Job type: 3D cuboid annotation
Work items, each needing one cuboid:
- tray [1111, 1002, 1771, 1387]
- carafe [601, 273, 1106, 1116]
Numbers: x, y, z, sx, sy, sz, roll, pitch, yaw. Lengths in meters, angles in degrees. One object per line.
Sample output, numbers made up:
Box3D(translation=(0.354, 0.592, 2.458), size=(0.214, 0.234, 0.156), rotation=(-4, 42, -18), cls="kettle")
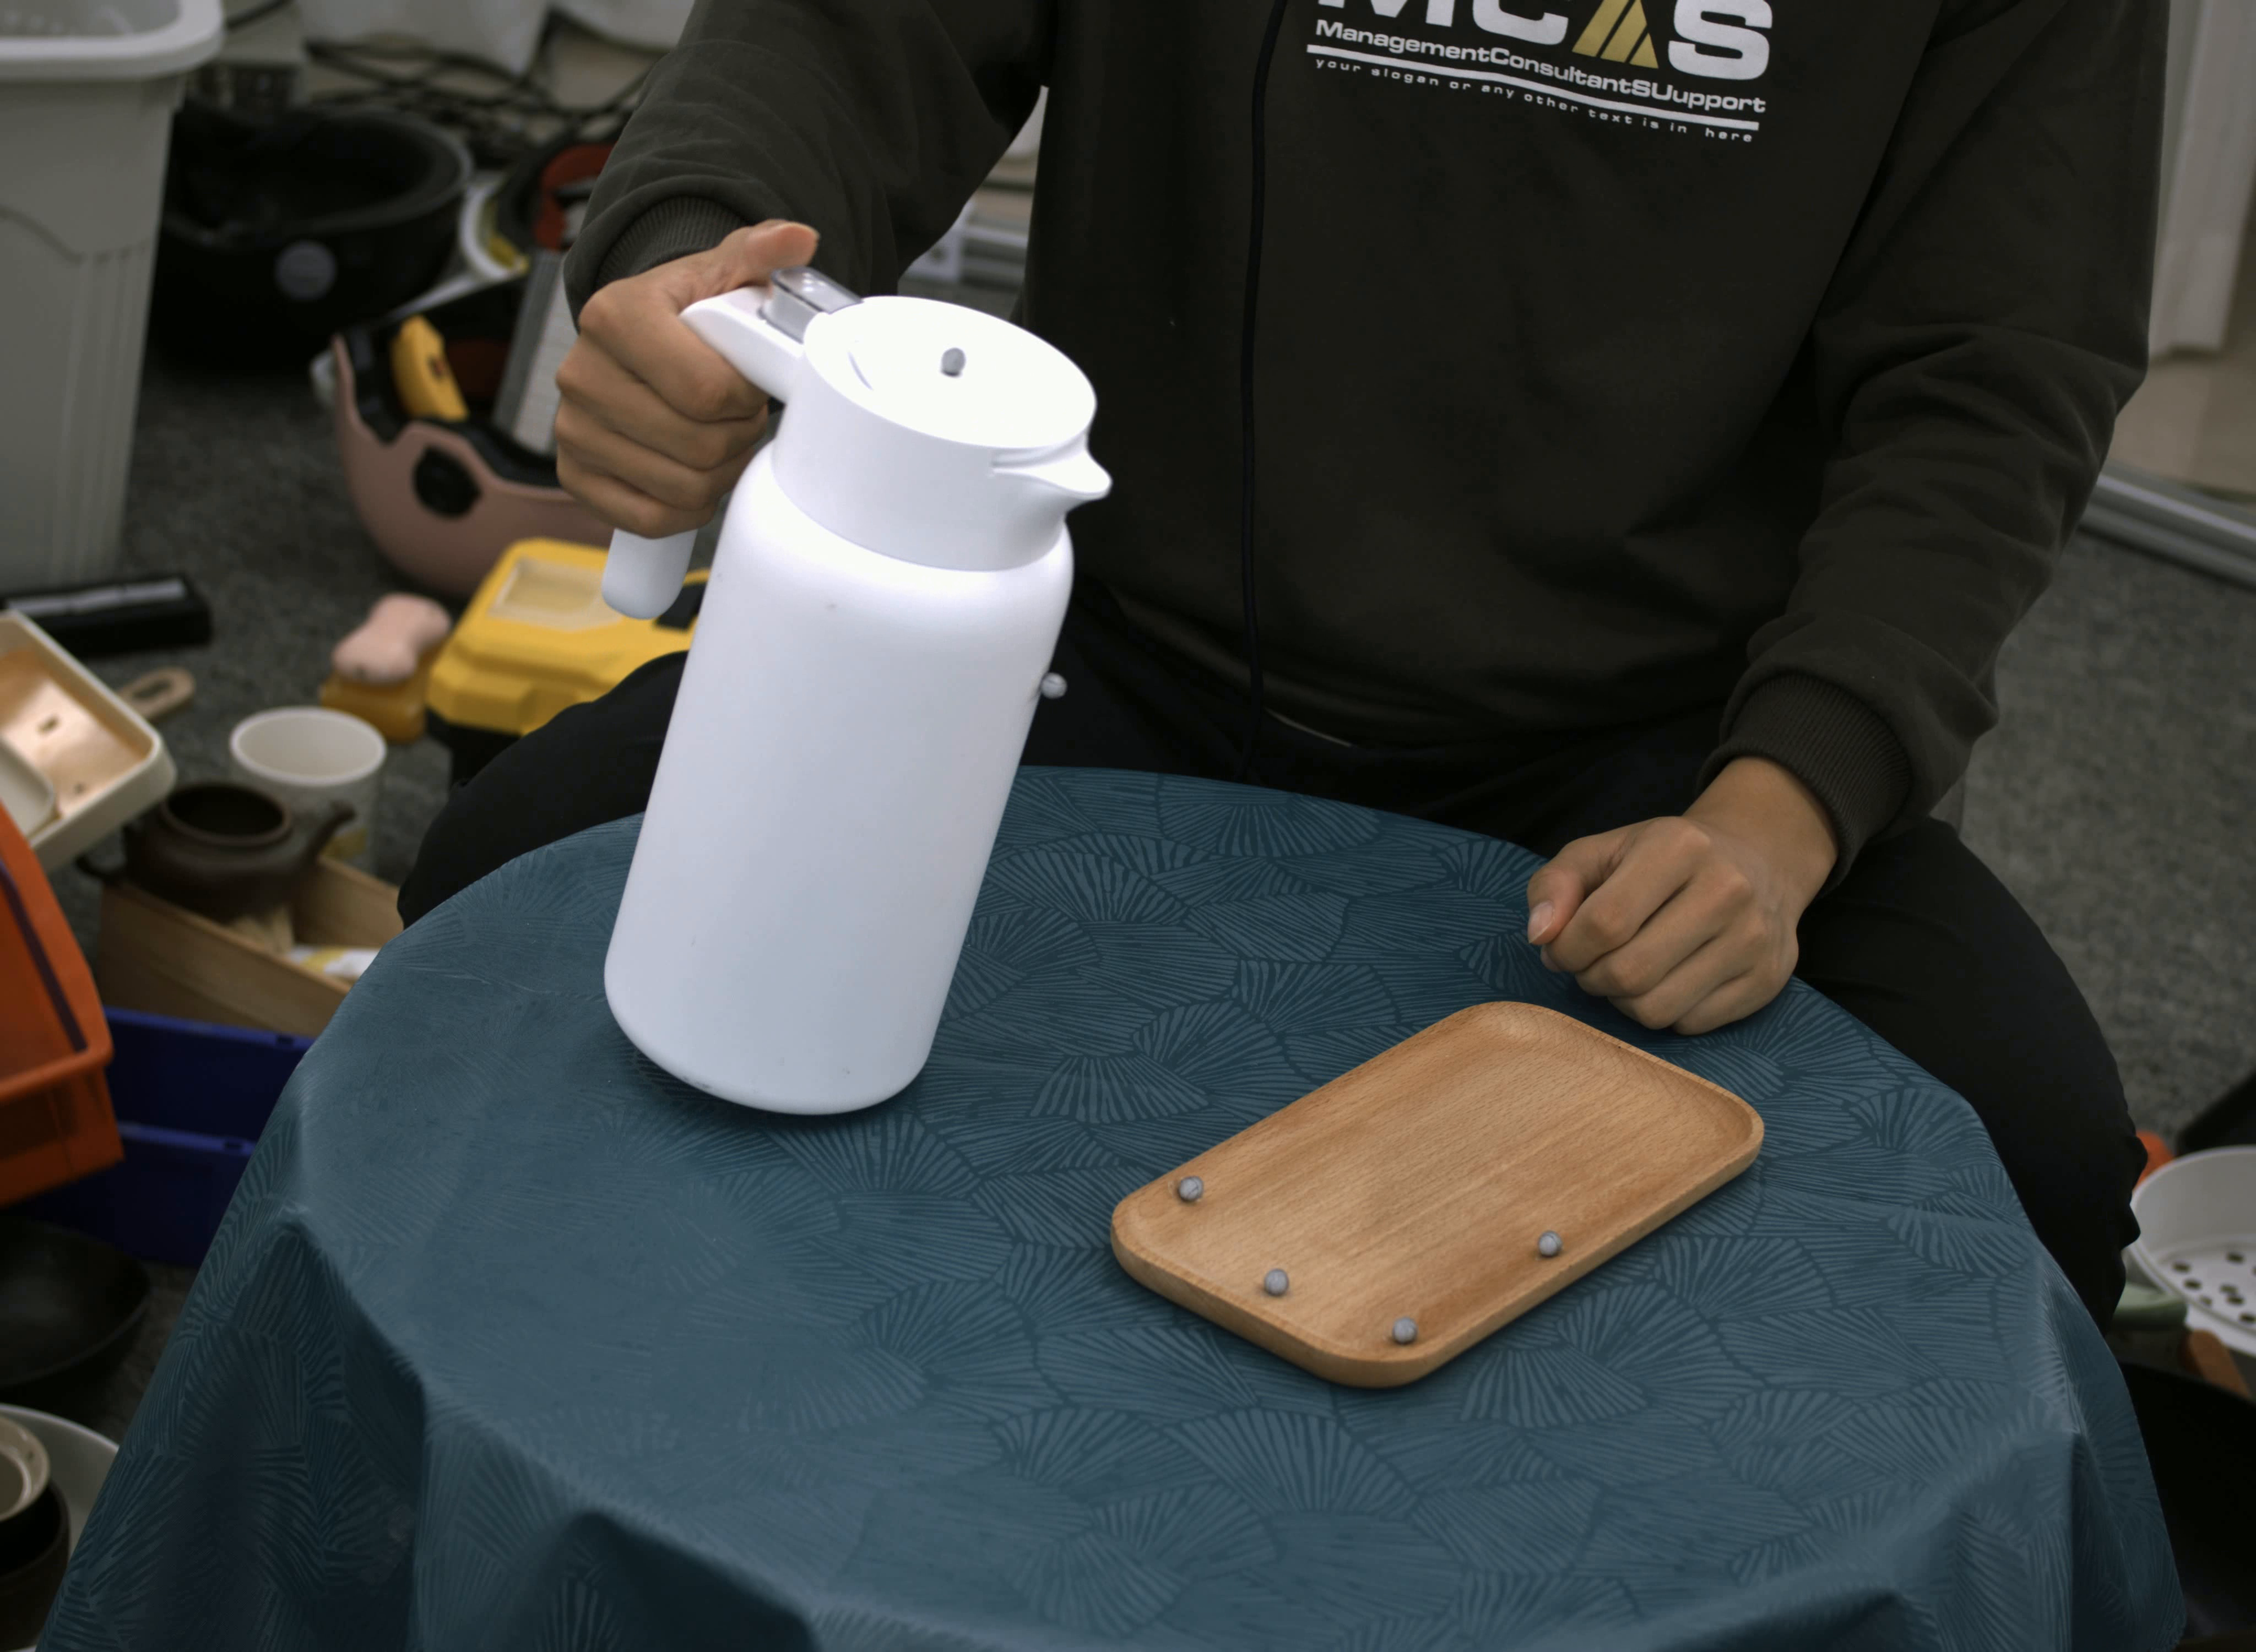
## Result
Box3D(translation=(0.109, 0.123, 1.816), size=(0.131, 0.023, 0.249), rotation=(28, 32, 31), cls="tray")
Box3D(translation=(-0.108, -0.047, 1.800), size=(0.174, 0.268, 0.123), rotation=(32, 34, 25), cls="carafe")
